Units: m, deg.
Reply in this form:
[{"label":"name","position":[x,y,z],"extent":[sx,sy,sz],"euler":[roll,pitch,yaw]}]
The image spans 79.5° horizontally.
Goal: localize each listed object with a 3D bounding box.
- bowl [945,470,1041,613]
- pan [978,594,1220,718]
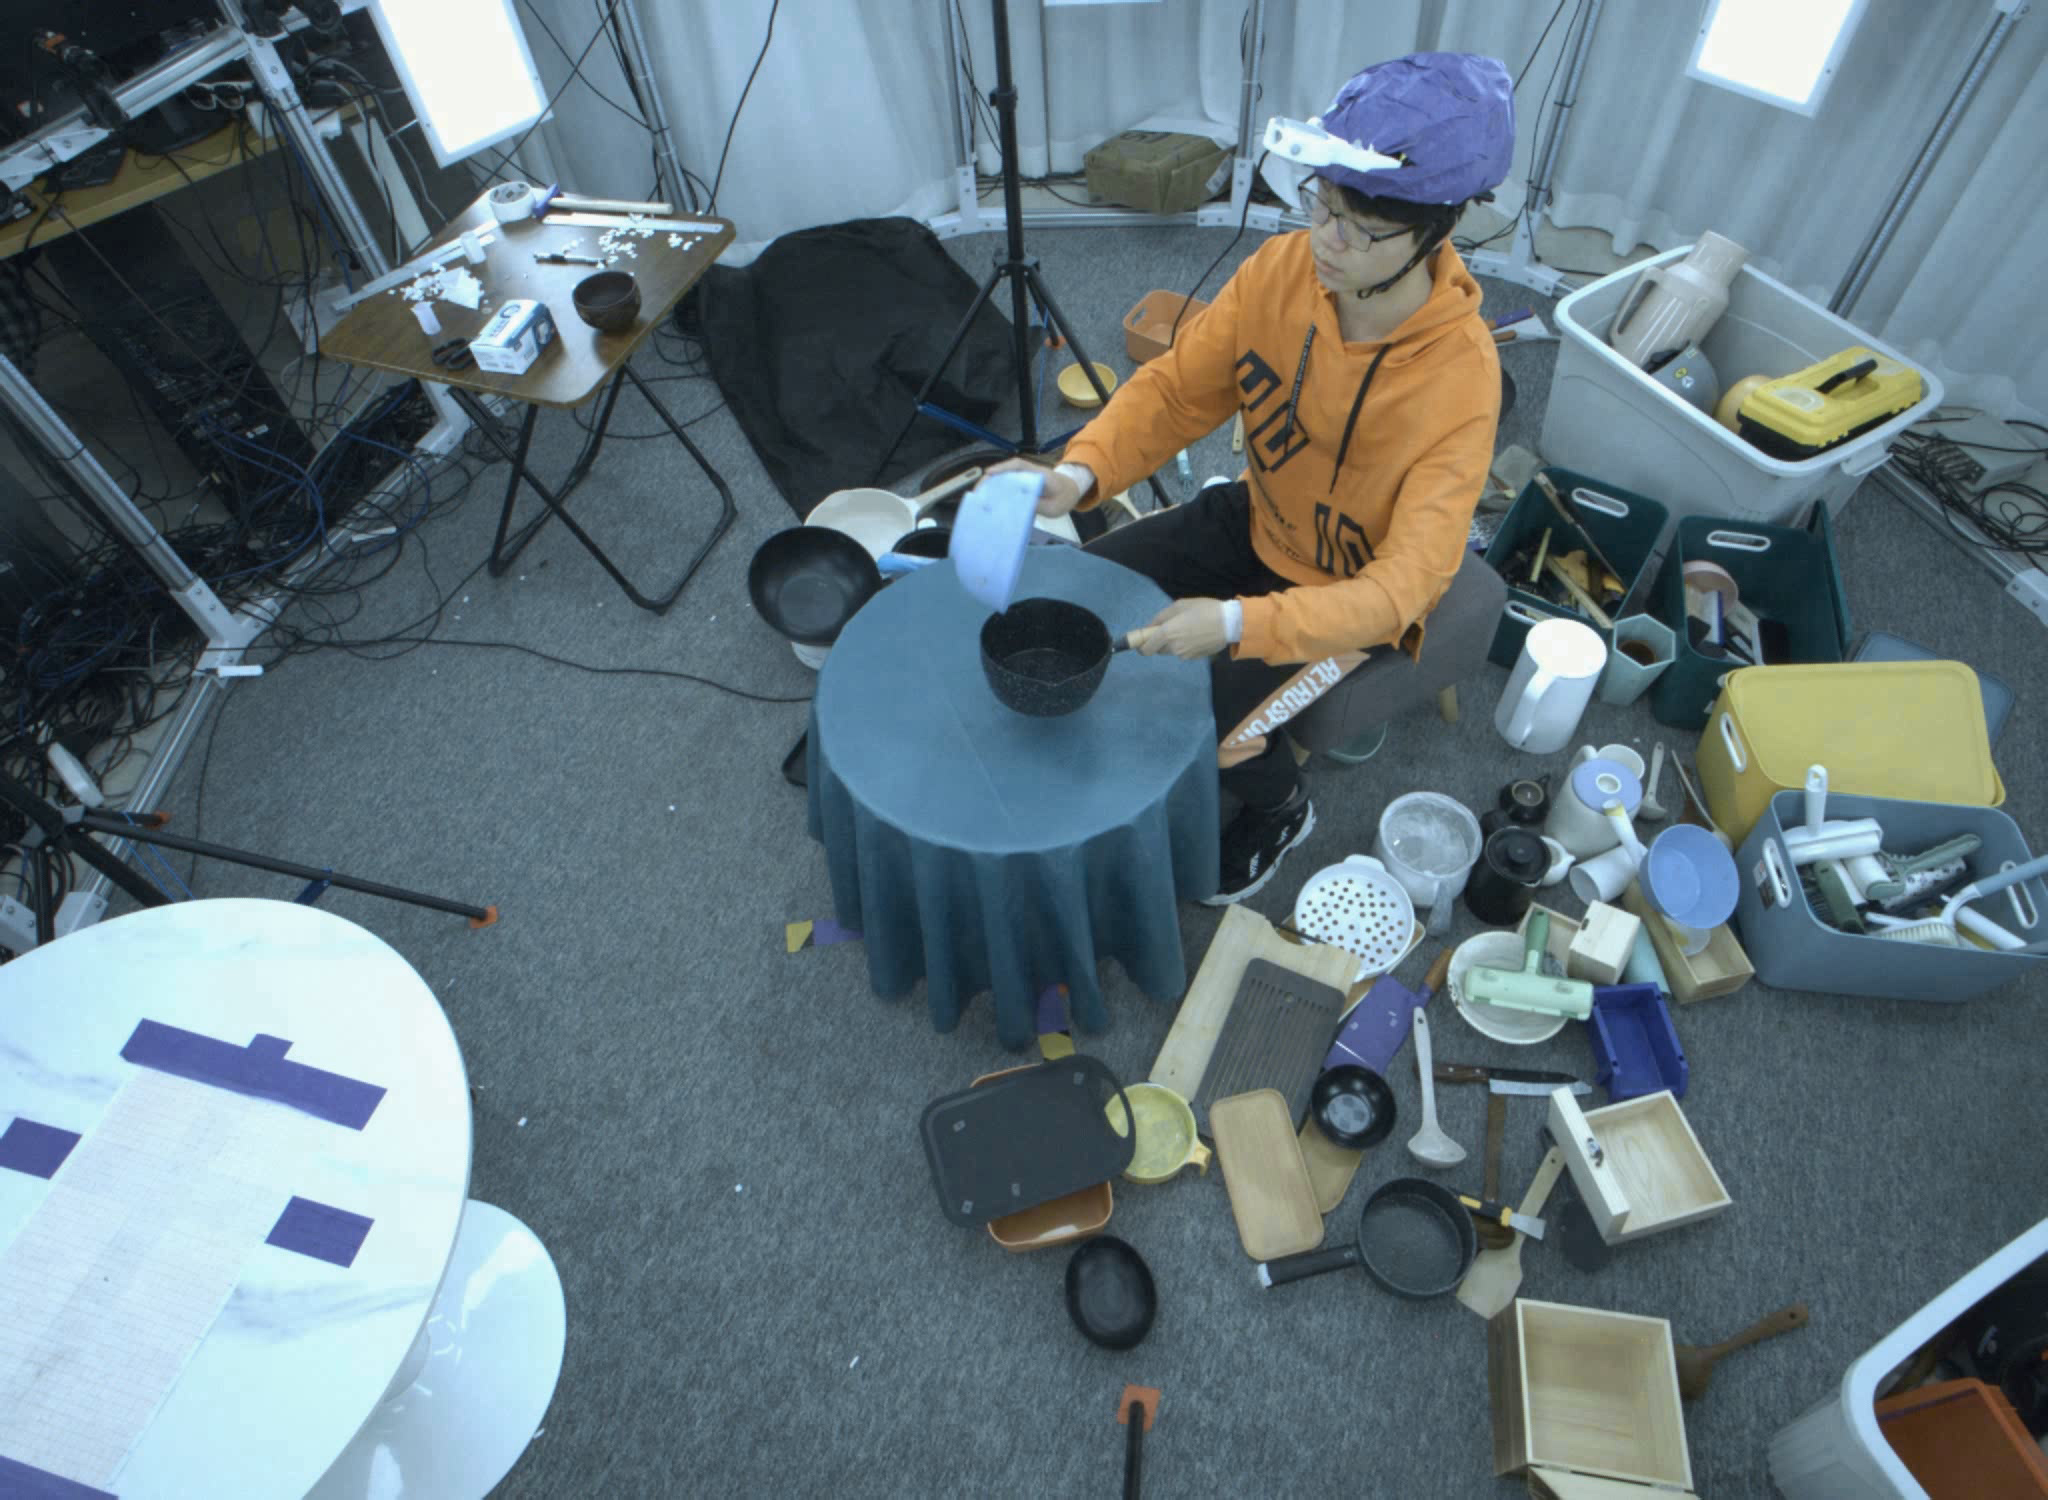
[{"label":"bowl","position":[-0.048,-0.291,1.641],"extent":[0.095,0.197,0.196],"euler":[16,57,3]},{"label":"pan","position":[0.106,-0.141,1.746],"extent":[0.345,0.109,0.204],"euler":[-6,44,-8]}]
